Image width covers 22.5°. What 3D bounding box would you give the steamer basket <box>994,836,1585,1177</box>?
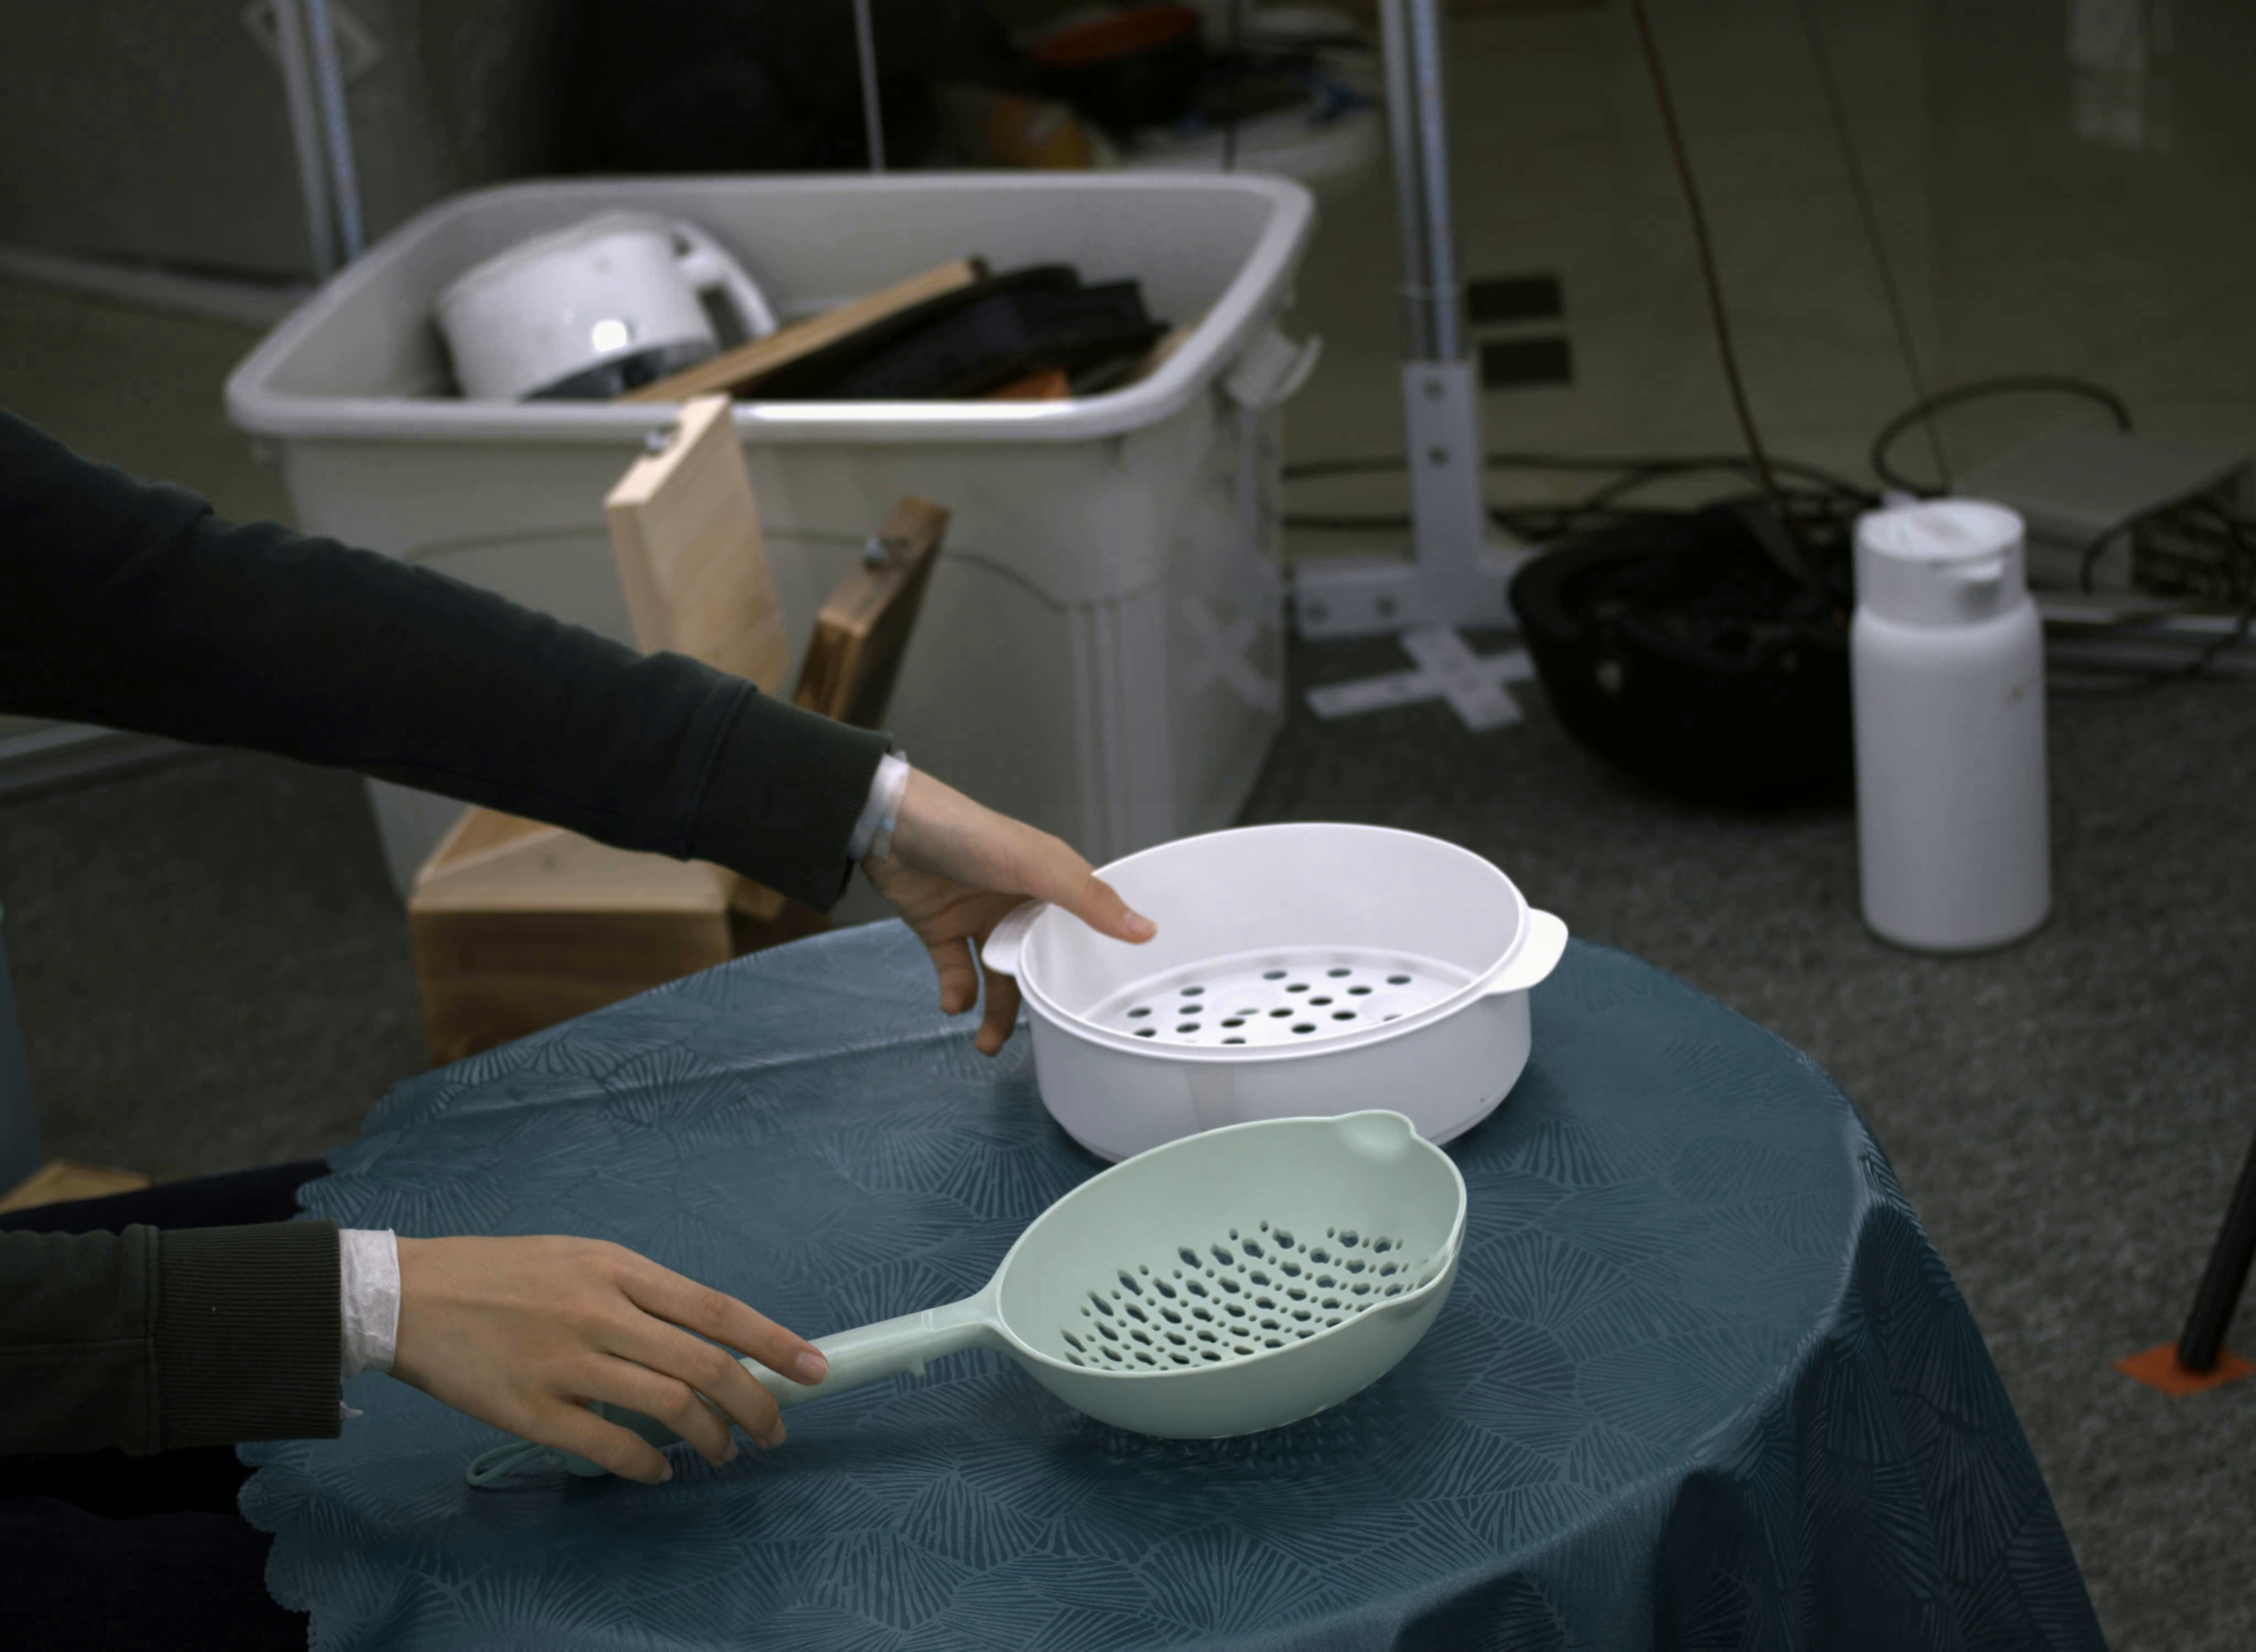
[{"bbox_3d":[0.064,0.073,2.203,0.230,0.070,0.199,1,25,17],"label":"steamer basket"}]

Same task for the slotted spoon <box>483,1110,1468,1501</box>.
[{"bbox_3d":[-0.055,0.182,1.999,0.358,0.076,0.167,-7,24,-1],"label":"slotted spoon"}]
